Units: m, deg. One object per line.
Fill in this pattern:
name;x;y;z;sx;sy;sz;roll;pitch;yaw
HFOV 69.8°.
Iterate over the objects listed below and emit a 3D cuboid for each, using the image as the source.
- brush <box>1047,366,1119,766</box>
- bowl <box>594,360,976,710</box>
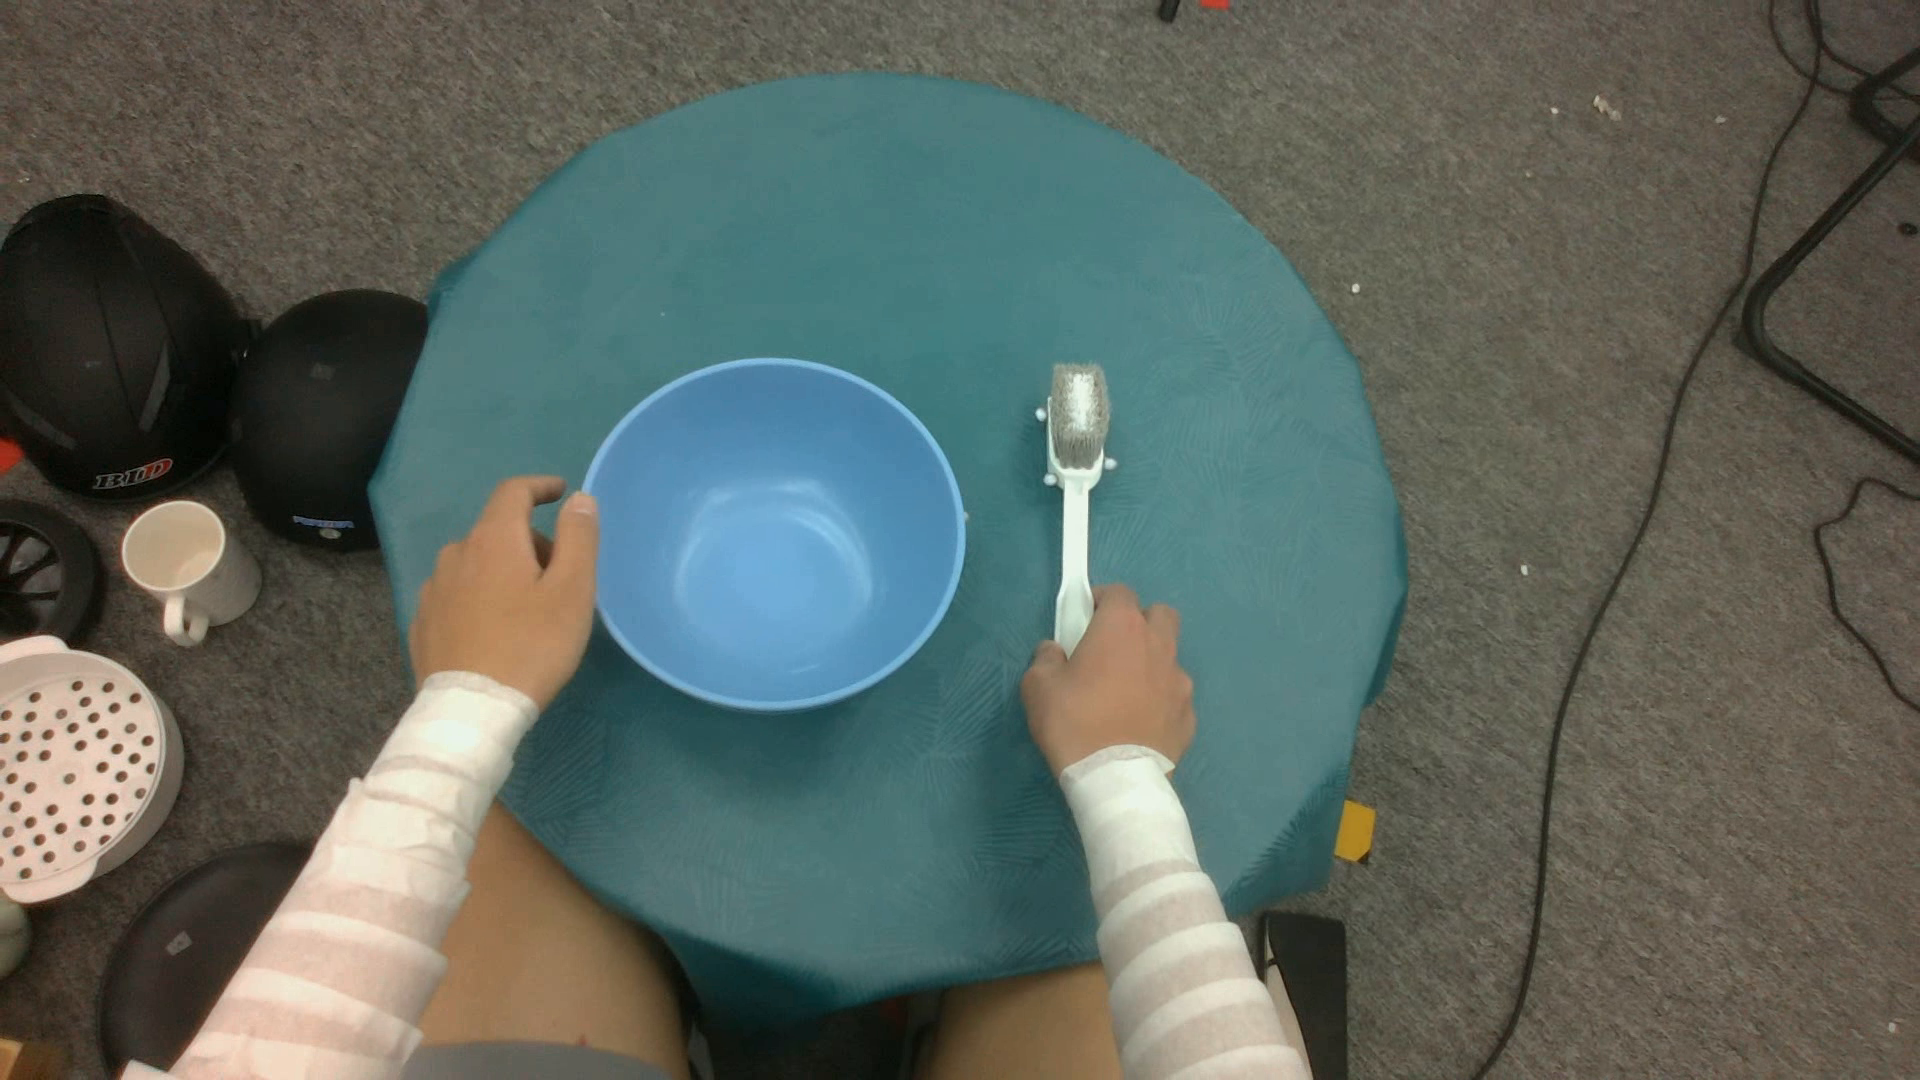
brush;0.070;0.008;0.802;0.034;0.050;0.244;5;66;-1
bowl;-0.095;0.010;0.755;0.196;0.095;0.197;3;65;-7
